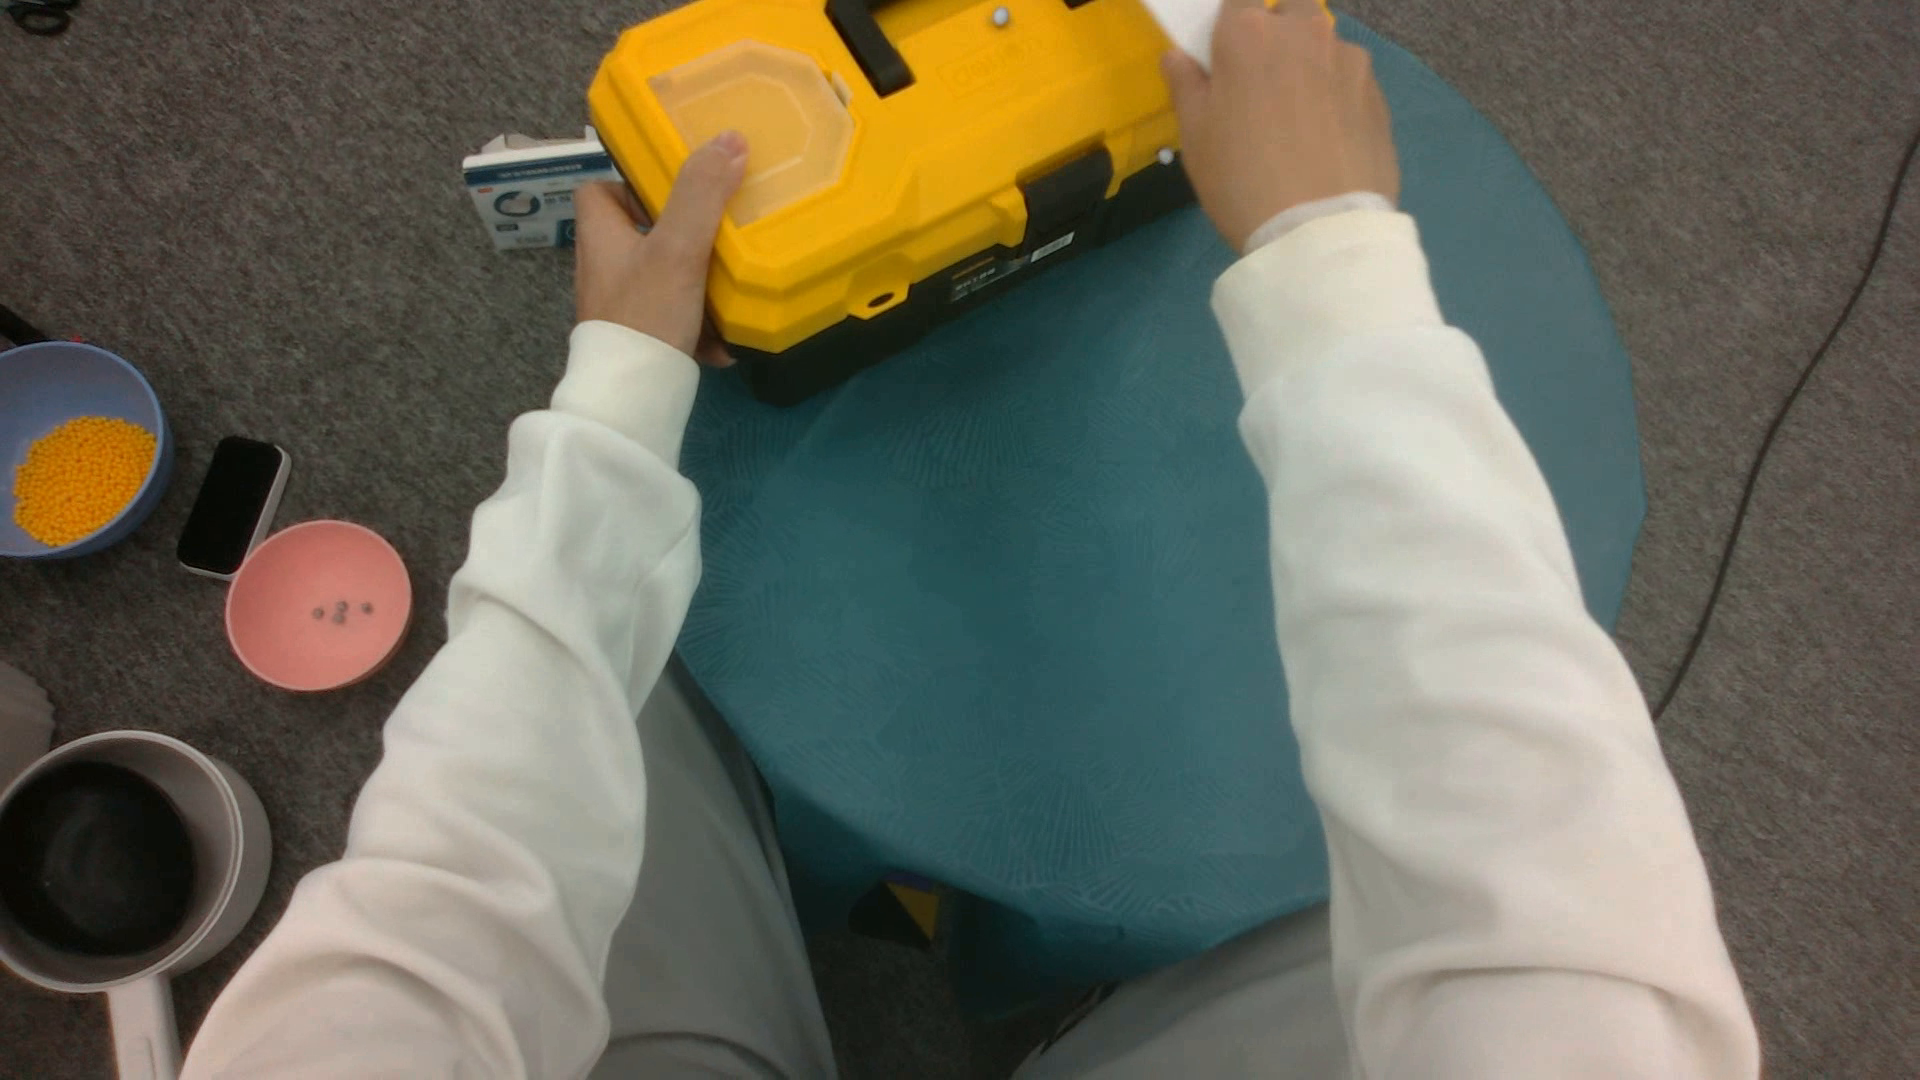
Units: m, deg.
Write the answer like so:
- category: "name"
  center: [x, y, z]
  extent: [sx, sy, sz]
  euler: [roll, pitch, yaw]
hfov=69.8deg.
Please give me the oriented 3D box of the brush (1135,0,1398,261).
- category: "brush"
  center: [0.112, -0.228, 0.636]
  extent: [0.068, 0.056, 0.267]
  euler: [-33, 78, 2]

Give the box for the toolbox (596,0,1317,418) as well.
- category: "toolbox"
  center: [0.002, -0.216, 0.743]
  extent: [0.352, 0.172, 0.181]
  euler: [-30, 77, -13]
